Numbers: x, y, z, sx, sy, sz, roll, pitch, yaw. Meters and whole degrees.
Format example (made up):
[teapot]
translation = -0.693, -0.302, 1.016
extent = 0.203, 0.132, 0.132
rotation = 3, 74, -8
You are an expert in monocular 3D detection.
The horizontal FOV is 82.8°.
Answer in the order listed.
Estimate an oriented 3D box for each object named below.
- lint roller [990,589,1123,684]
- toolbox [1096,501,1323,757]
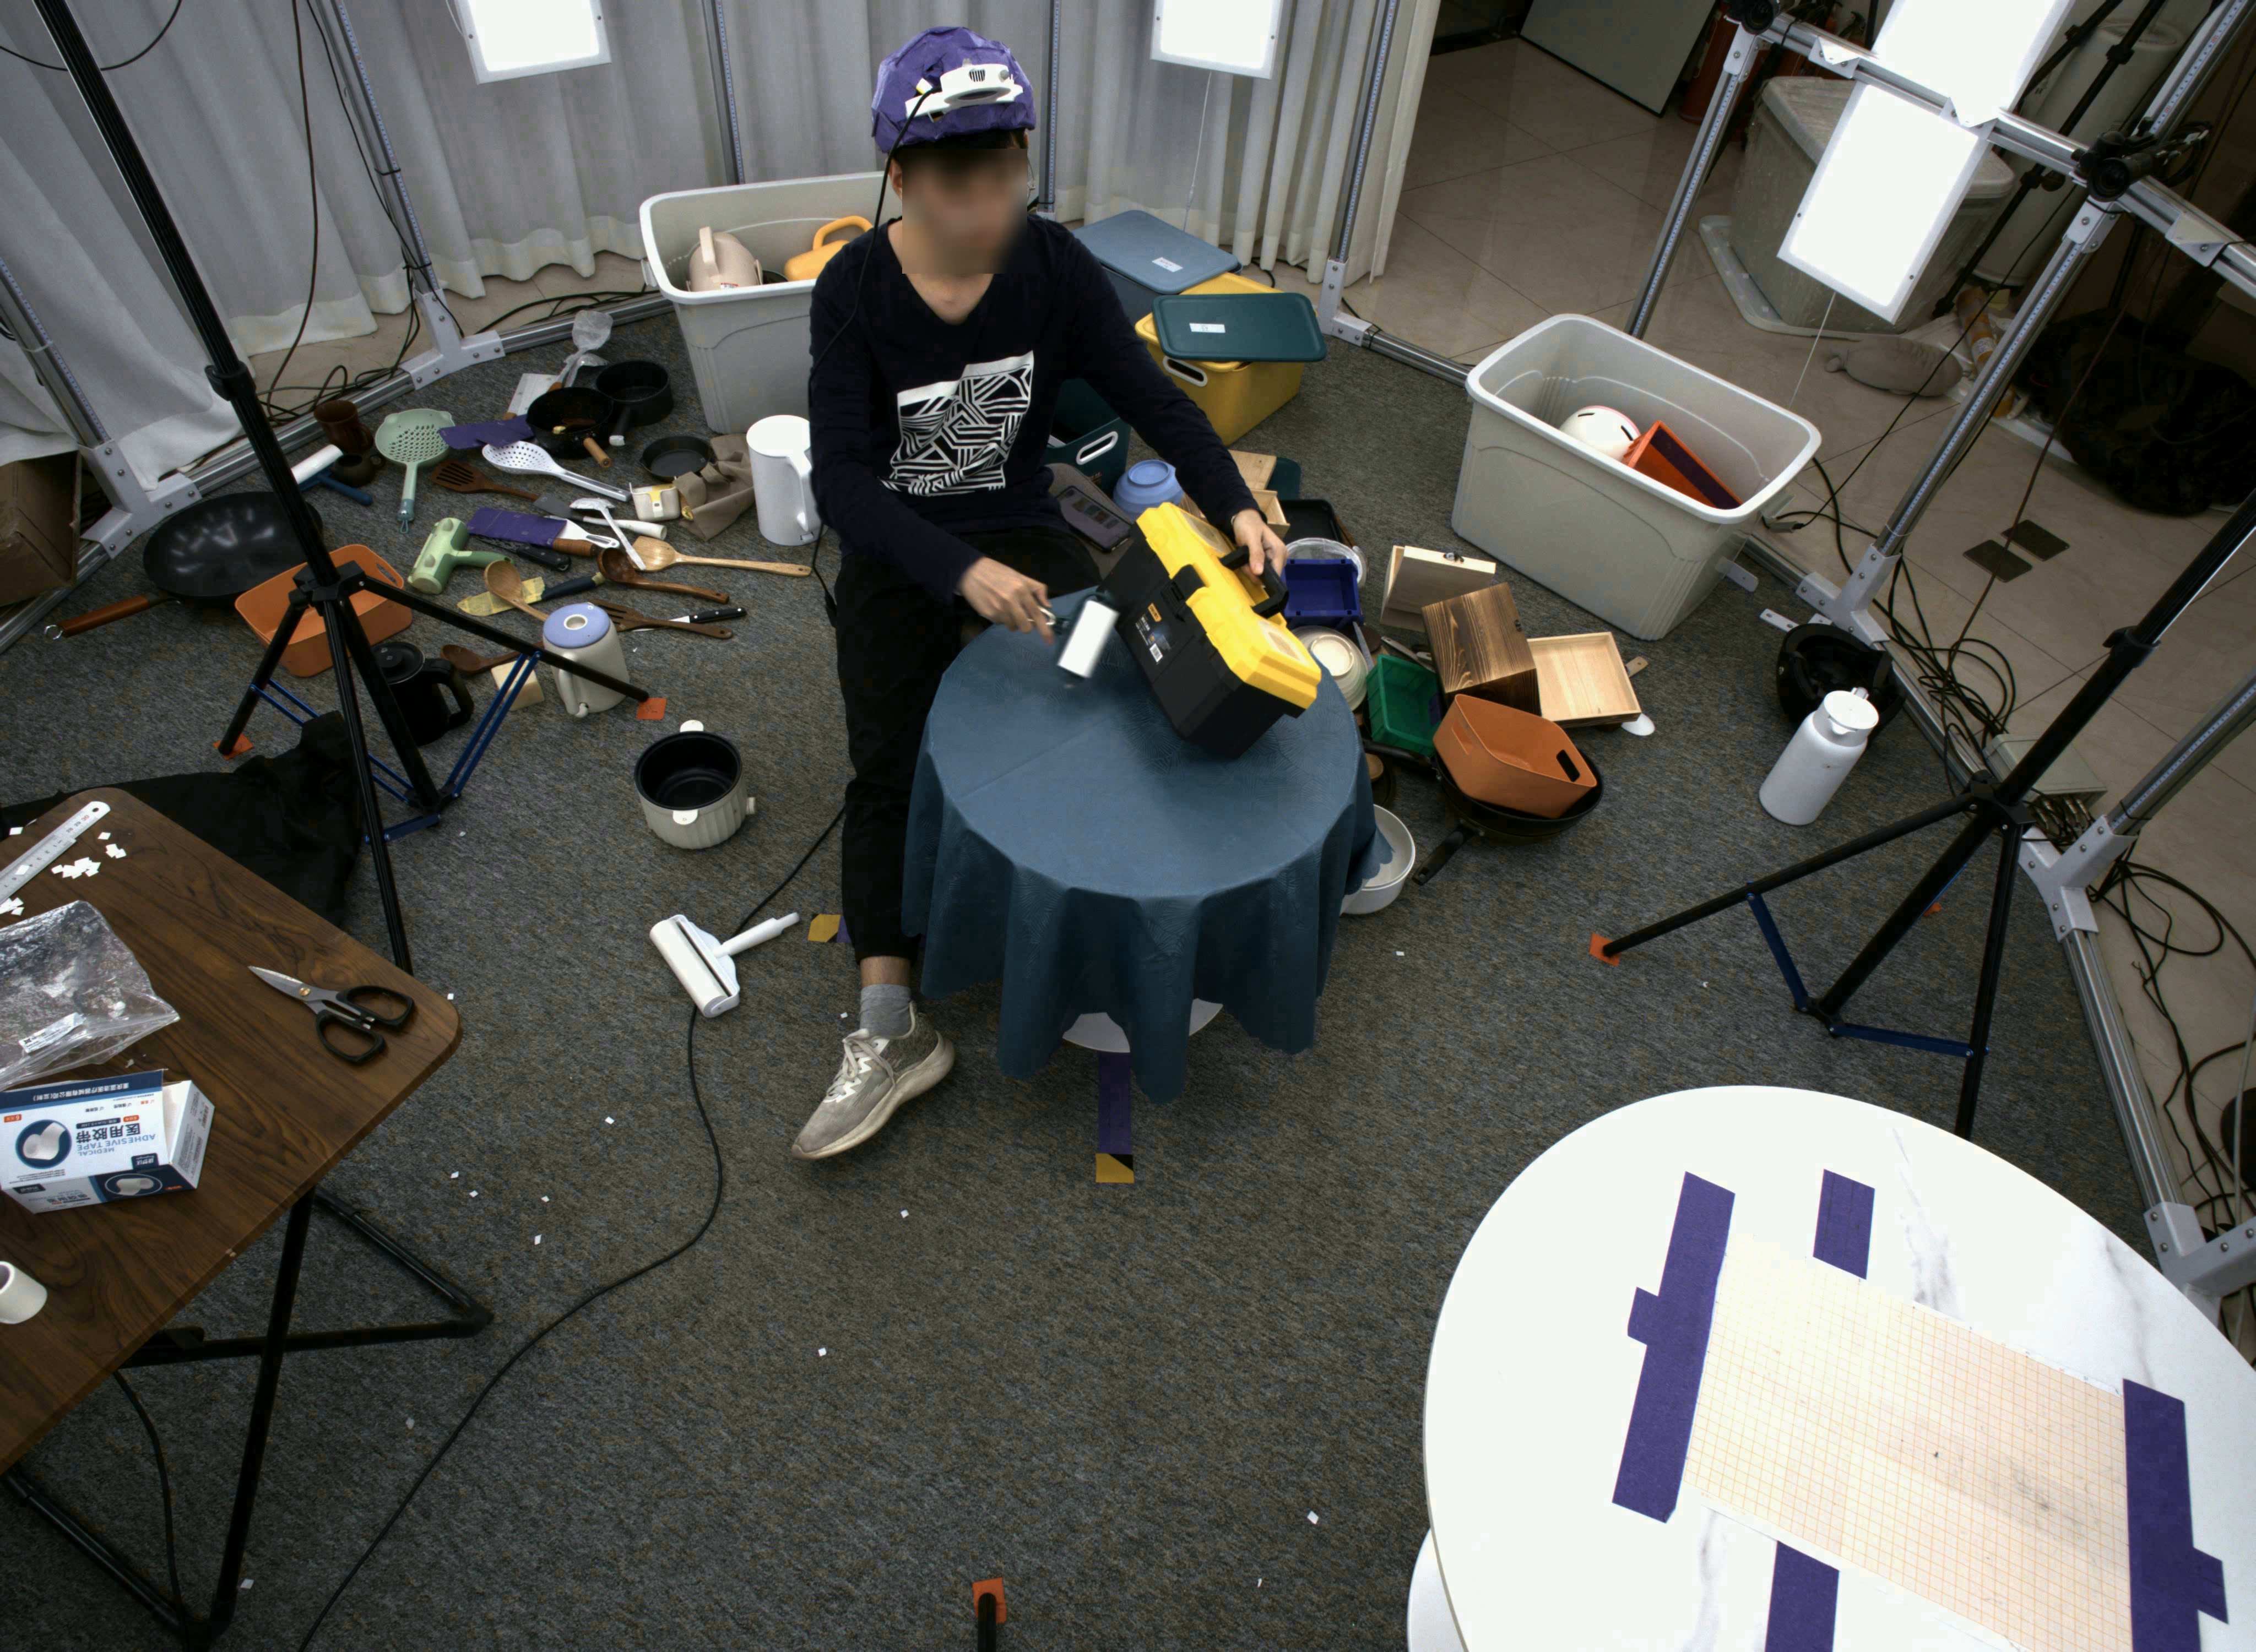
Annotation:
[lint roller]
translation = -0.109, -0.288, 1.788
extent = 0.180, 0.134, 0.048
rotation = 23, 7, 0
[toolbox]
translation = 0.101, -0.272, 1.773
extent = 0.179, 0.171, 0.360
rotation = 17, 35, -43
